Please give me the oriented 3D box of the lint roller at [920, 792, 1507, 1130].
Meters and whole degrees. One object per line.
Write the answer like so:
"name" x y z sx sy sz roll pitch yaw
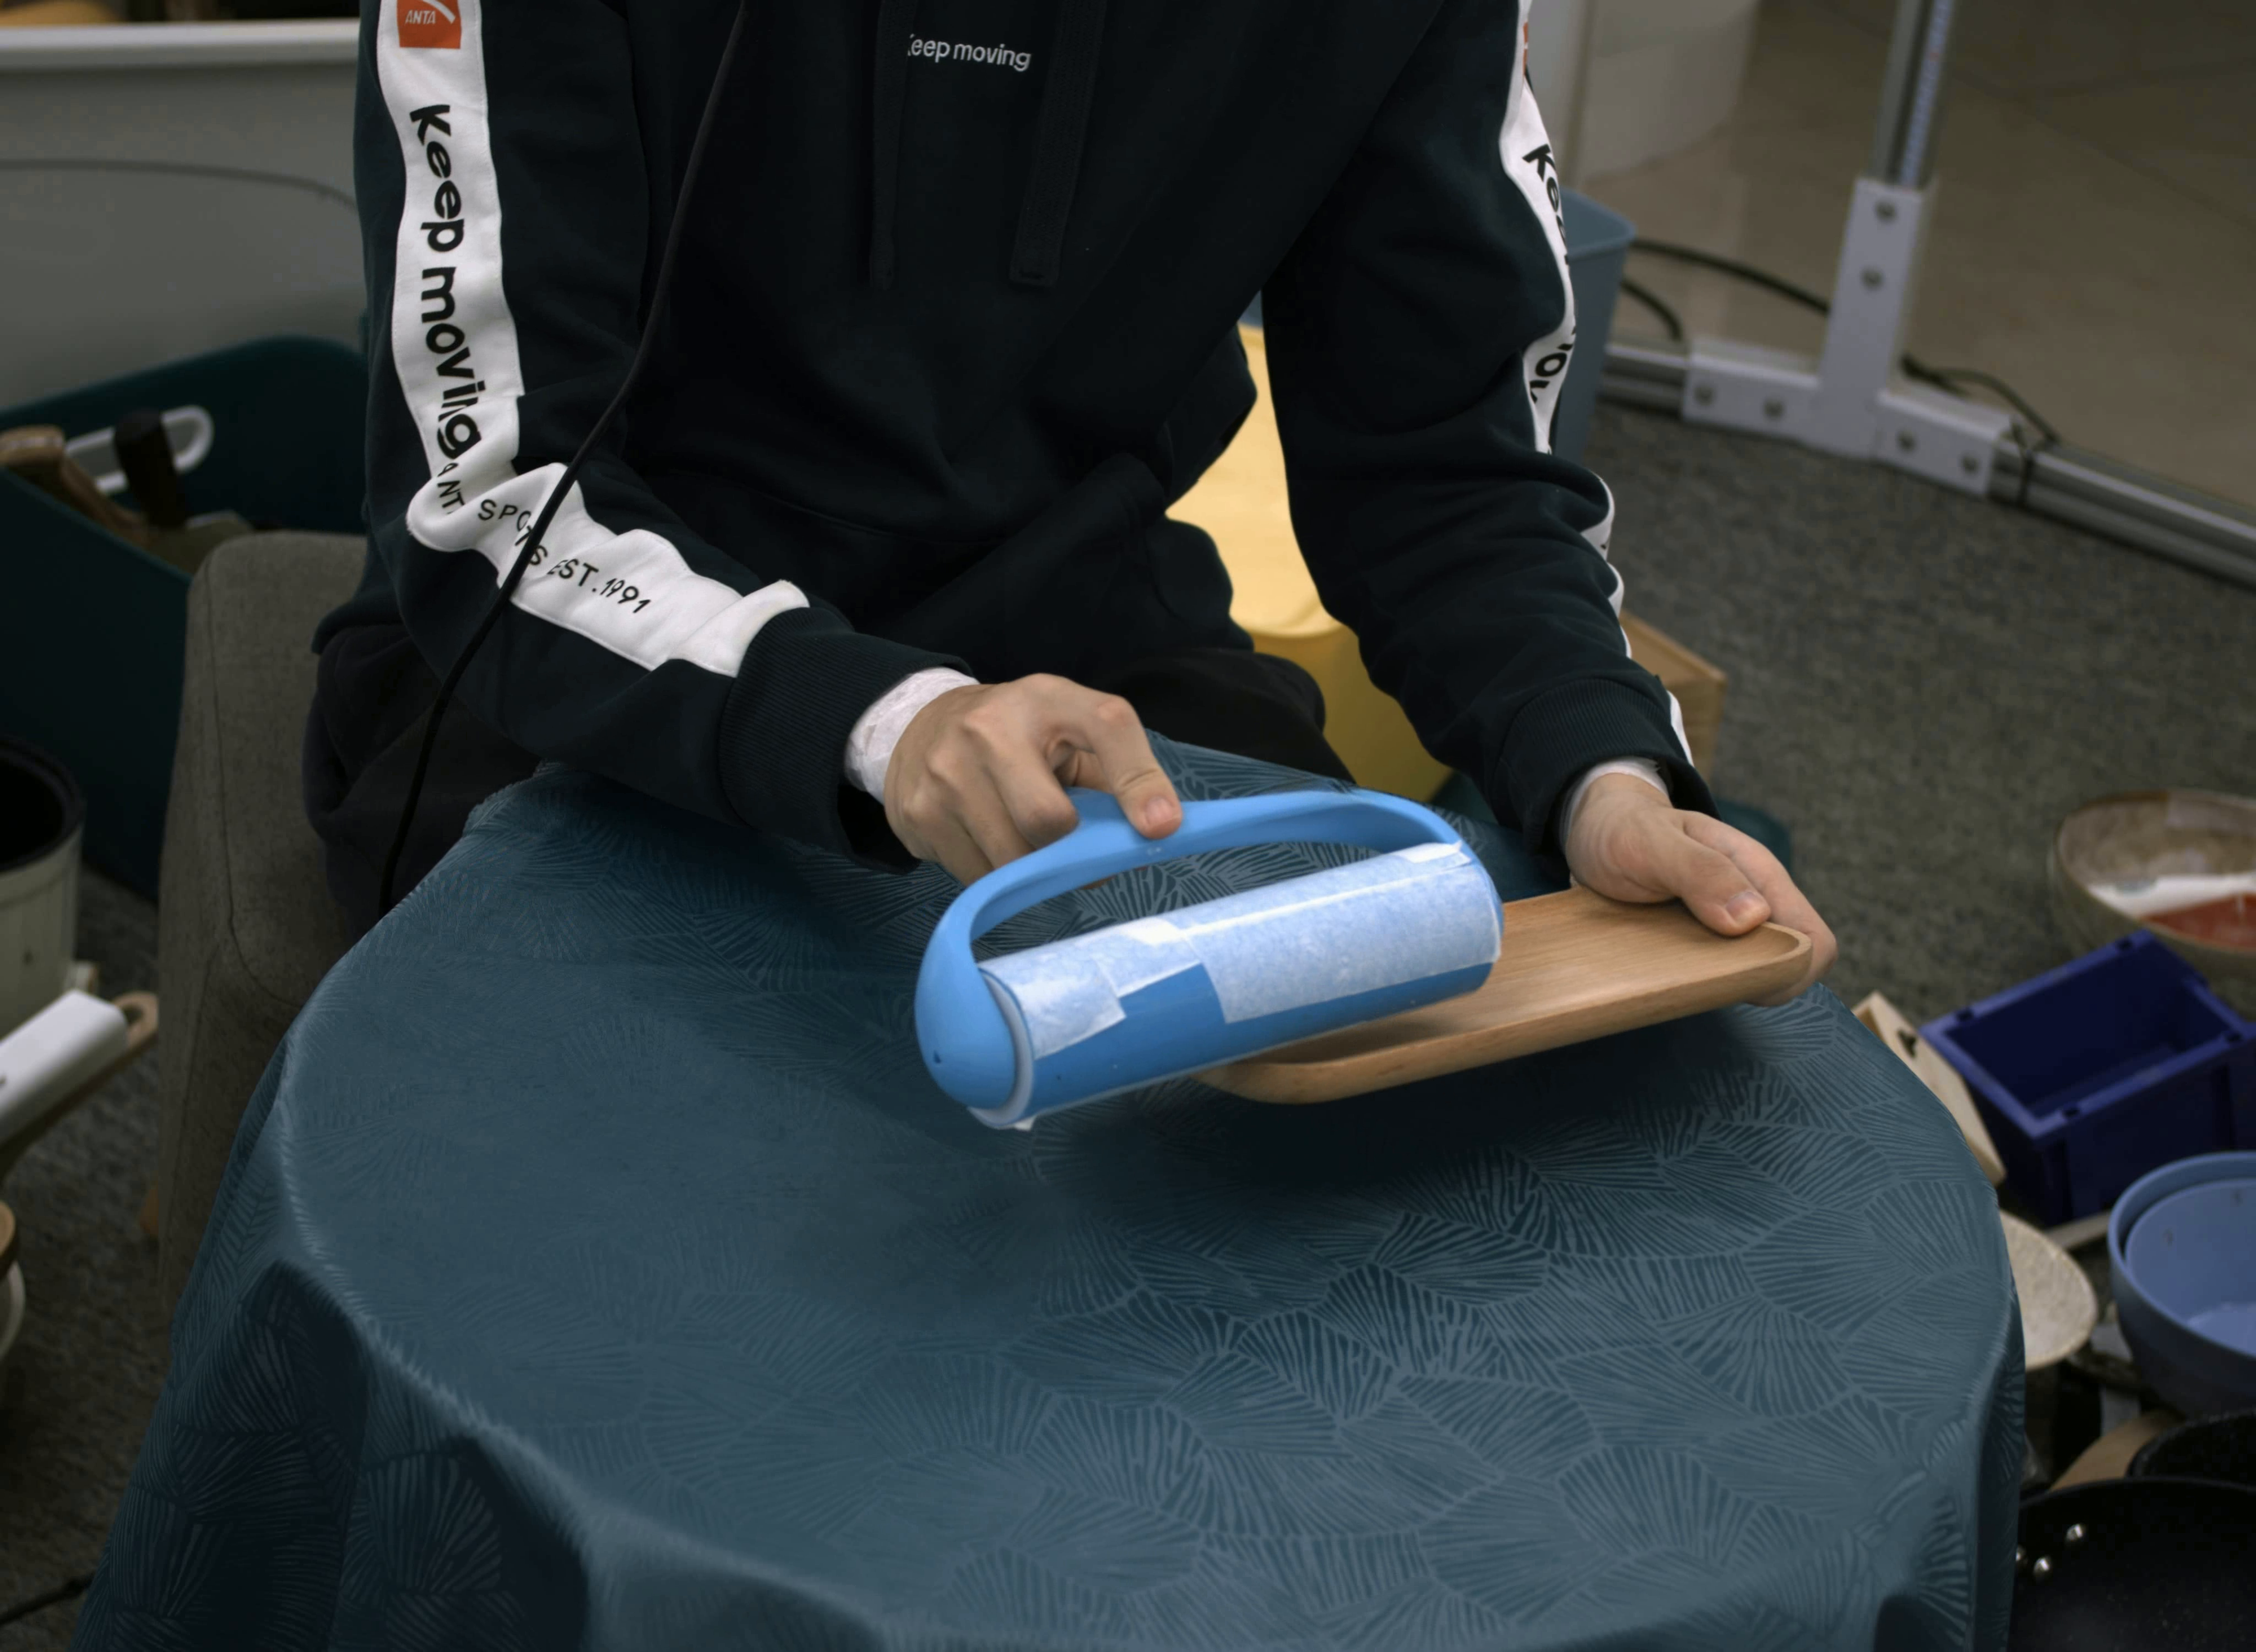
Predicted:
"lint roller" -0.004 0.024 1.787 0.227 0.067 0.182 -17 36 -35

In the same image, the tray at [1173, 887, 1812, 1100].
"tray" 0.113 0.057 1.849 0.249 0.023 0.131 -11 14 -32
